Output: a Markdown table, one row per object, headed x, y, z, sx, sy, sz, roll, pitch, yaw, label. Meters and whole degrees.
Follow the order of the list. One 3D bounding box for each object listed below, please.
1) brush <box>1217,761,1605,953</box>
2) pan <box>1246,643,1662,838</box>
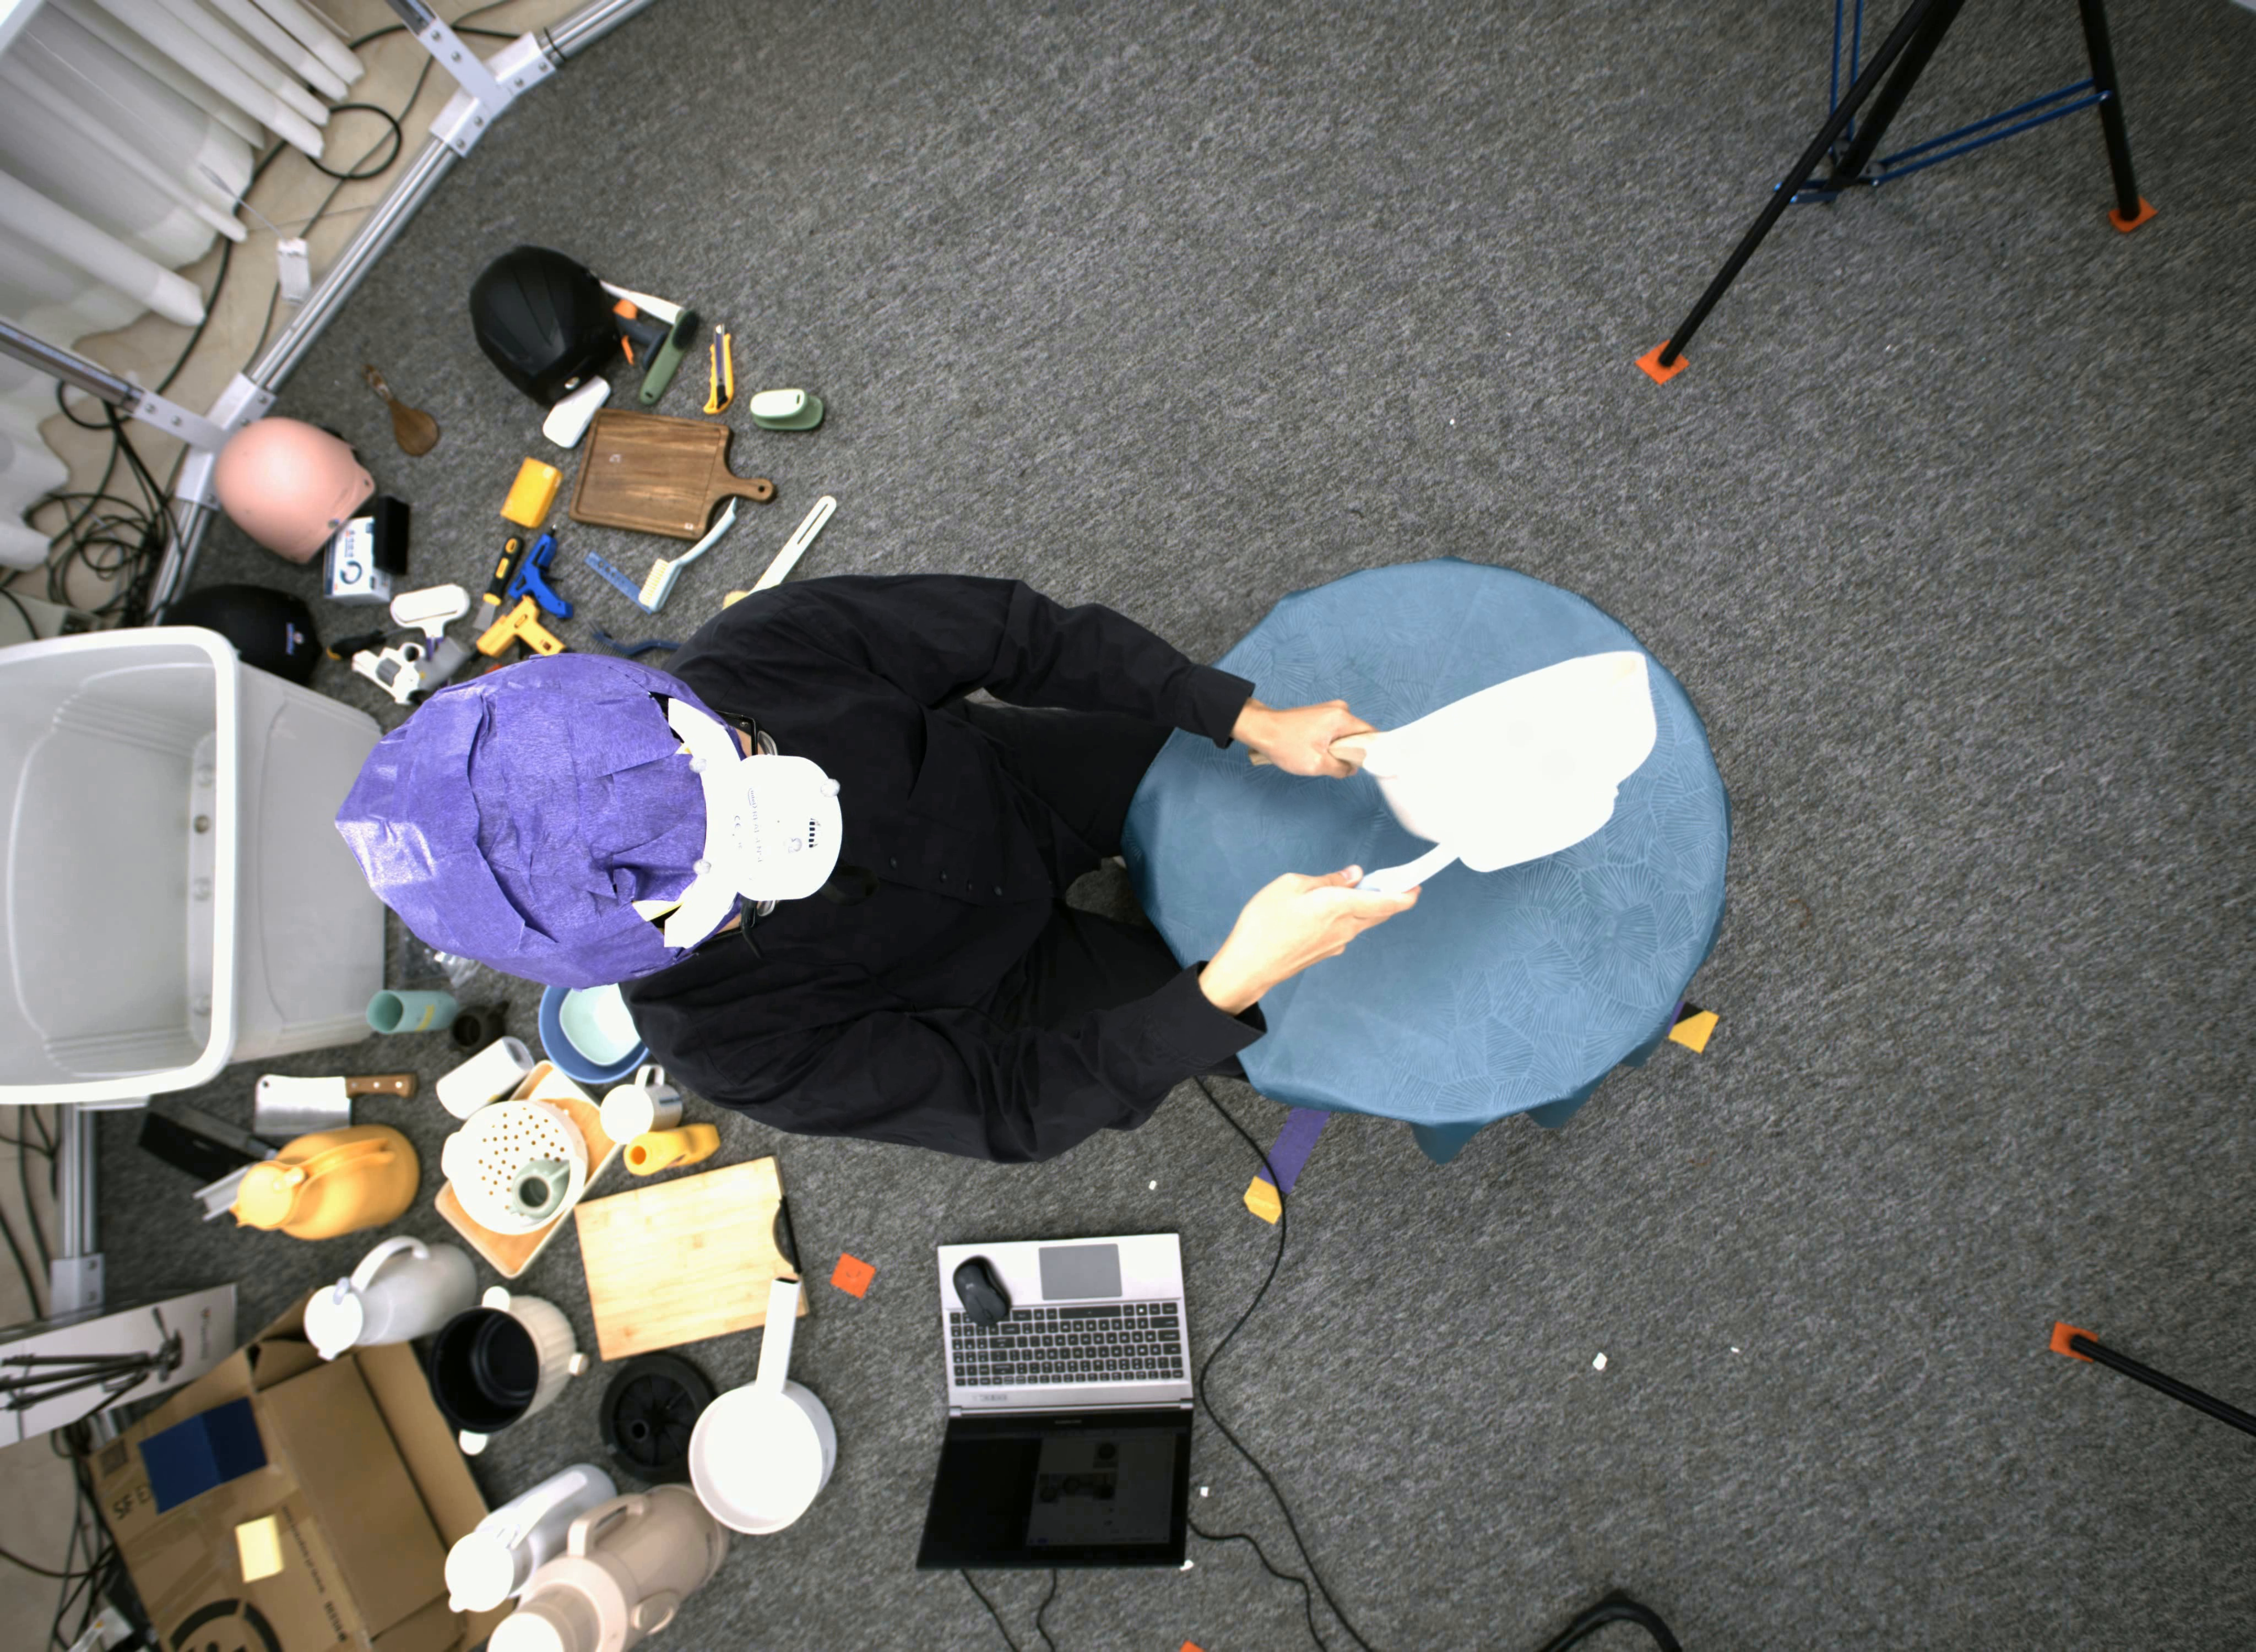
| x | y | z | sx | sy | sz | roll | pitch | yaw | label |
| --- | --- | --- | --- | --- | --- | --- | --- | --- | --- |
| 0.219 | 0.020 | 1.105 | 0.329 | 0.085 | 0.082 | -22 | 71 | 22 | brush |
| 0.283 | -0.064 | 1.265 | 0.440 | 0.258 | 0.103 | -13 | 107 | 51 | pan |
